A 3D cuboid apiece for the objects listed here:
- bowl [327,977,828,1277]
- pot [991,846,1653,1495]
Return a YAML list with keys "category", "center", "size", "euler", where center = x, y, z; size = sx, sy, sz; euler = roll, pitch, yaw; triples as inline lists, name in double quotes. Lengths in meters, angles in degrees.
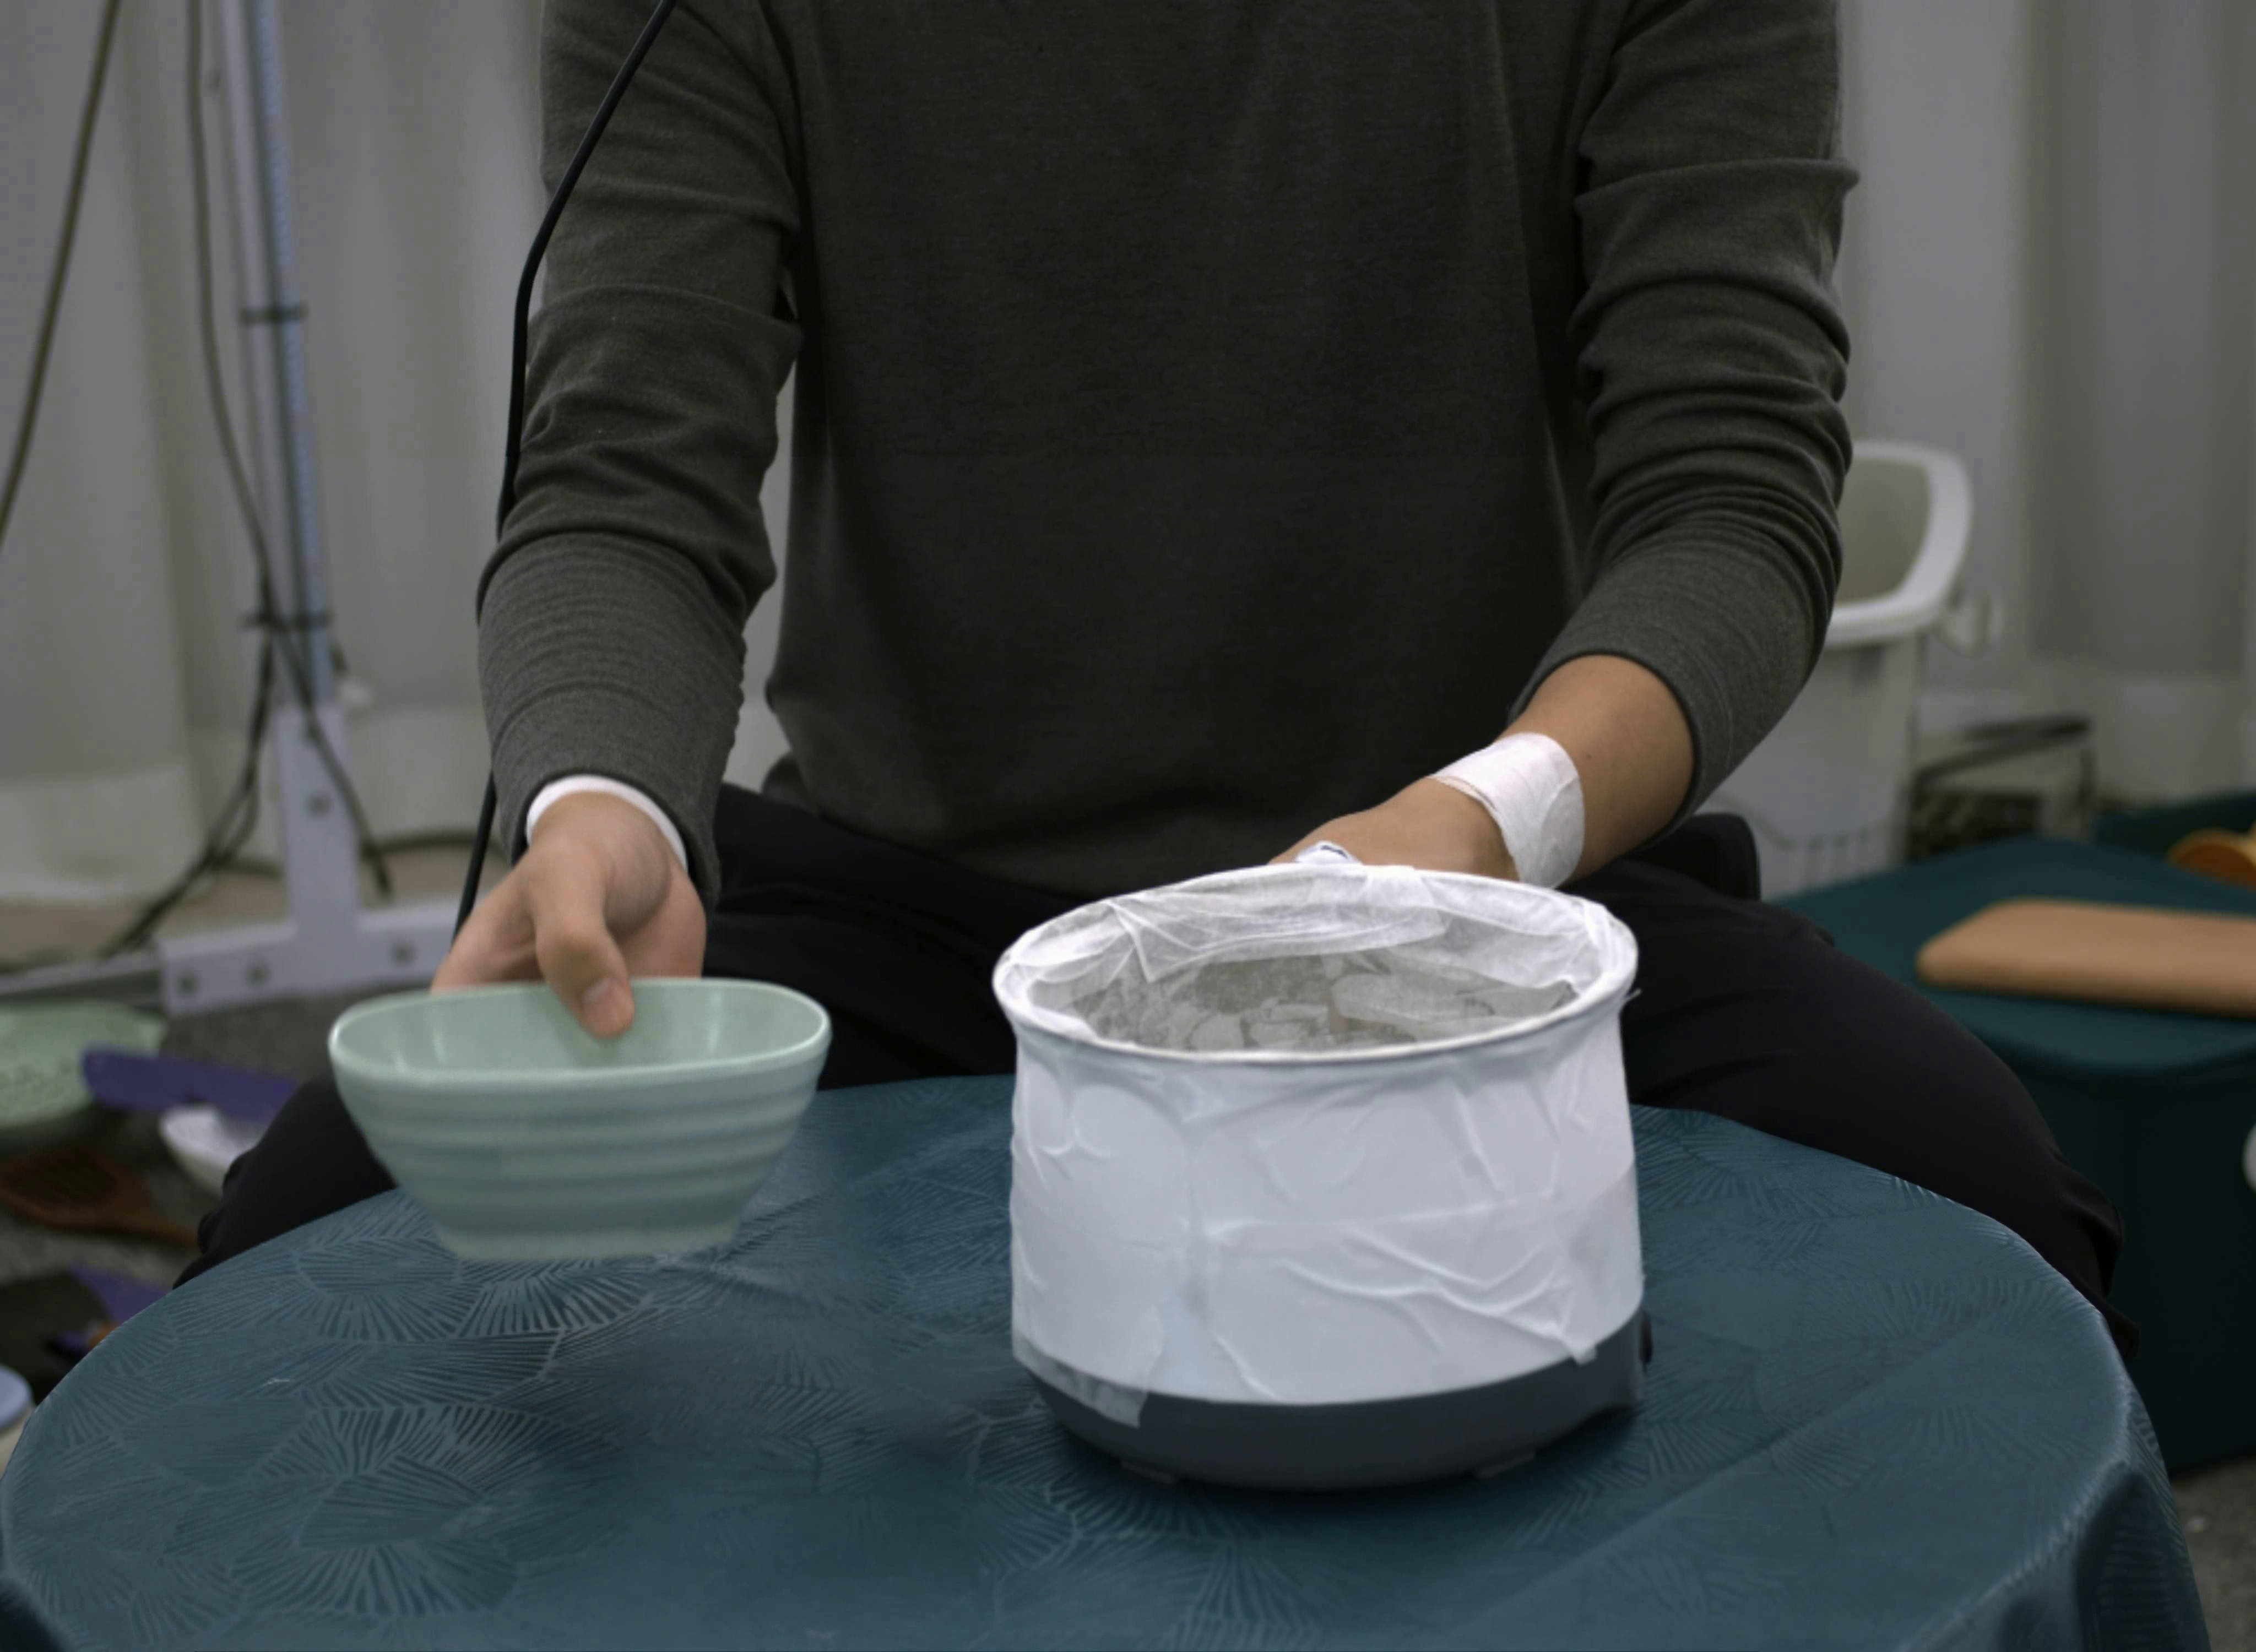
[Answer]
- category: "bowl"
  center: [-0.151, 0.085, 1.520]
  size: [0.151, 0.058, 0.152]
  euler: [-3, 10, 0]
- category: "pot"
  center: [0.056, 0.091, 1.535]
  size: [0.178, 0.136, 0.235]
  euler: [-2, 14, 4]
